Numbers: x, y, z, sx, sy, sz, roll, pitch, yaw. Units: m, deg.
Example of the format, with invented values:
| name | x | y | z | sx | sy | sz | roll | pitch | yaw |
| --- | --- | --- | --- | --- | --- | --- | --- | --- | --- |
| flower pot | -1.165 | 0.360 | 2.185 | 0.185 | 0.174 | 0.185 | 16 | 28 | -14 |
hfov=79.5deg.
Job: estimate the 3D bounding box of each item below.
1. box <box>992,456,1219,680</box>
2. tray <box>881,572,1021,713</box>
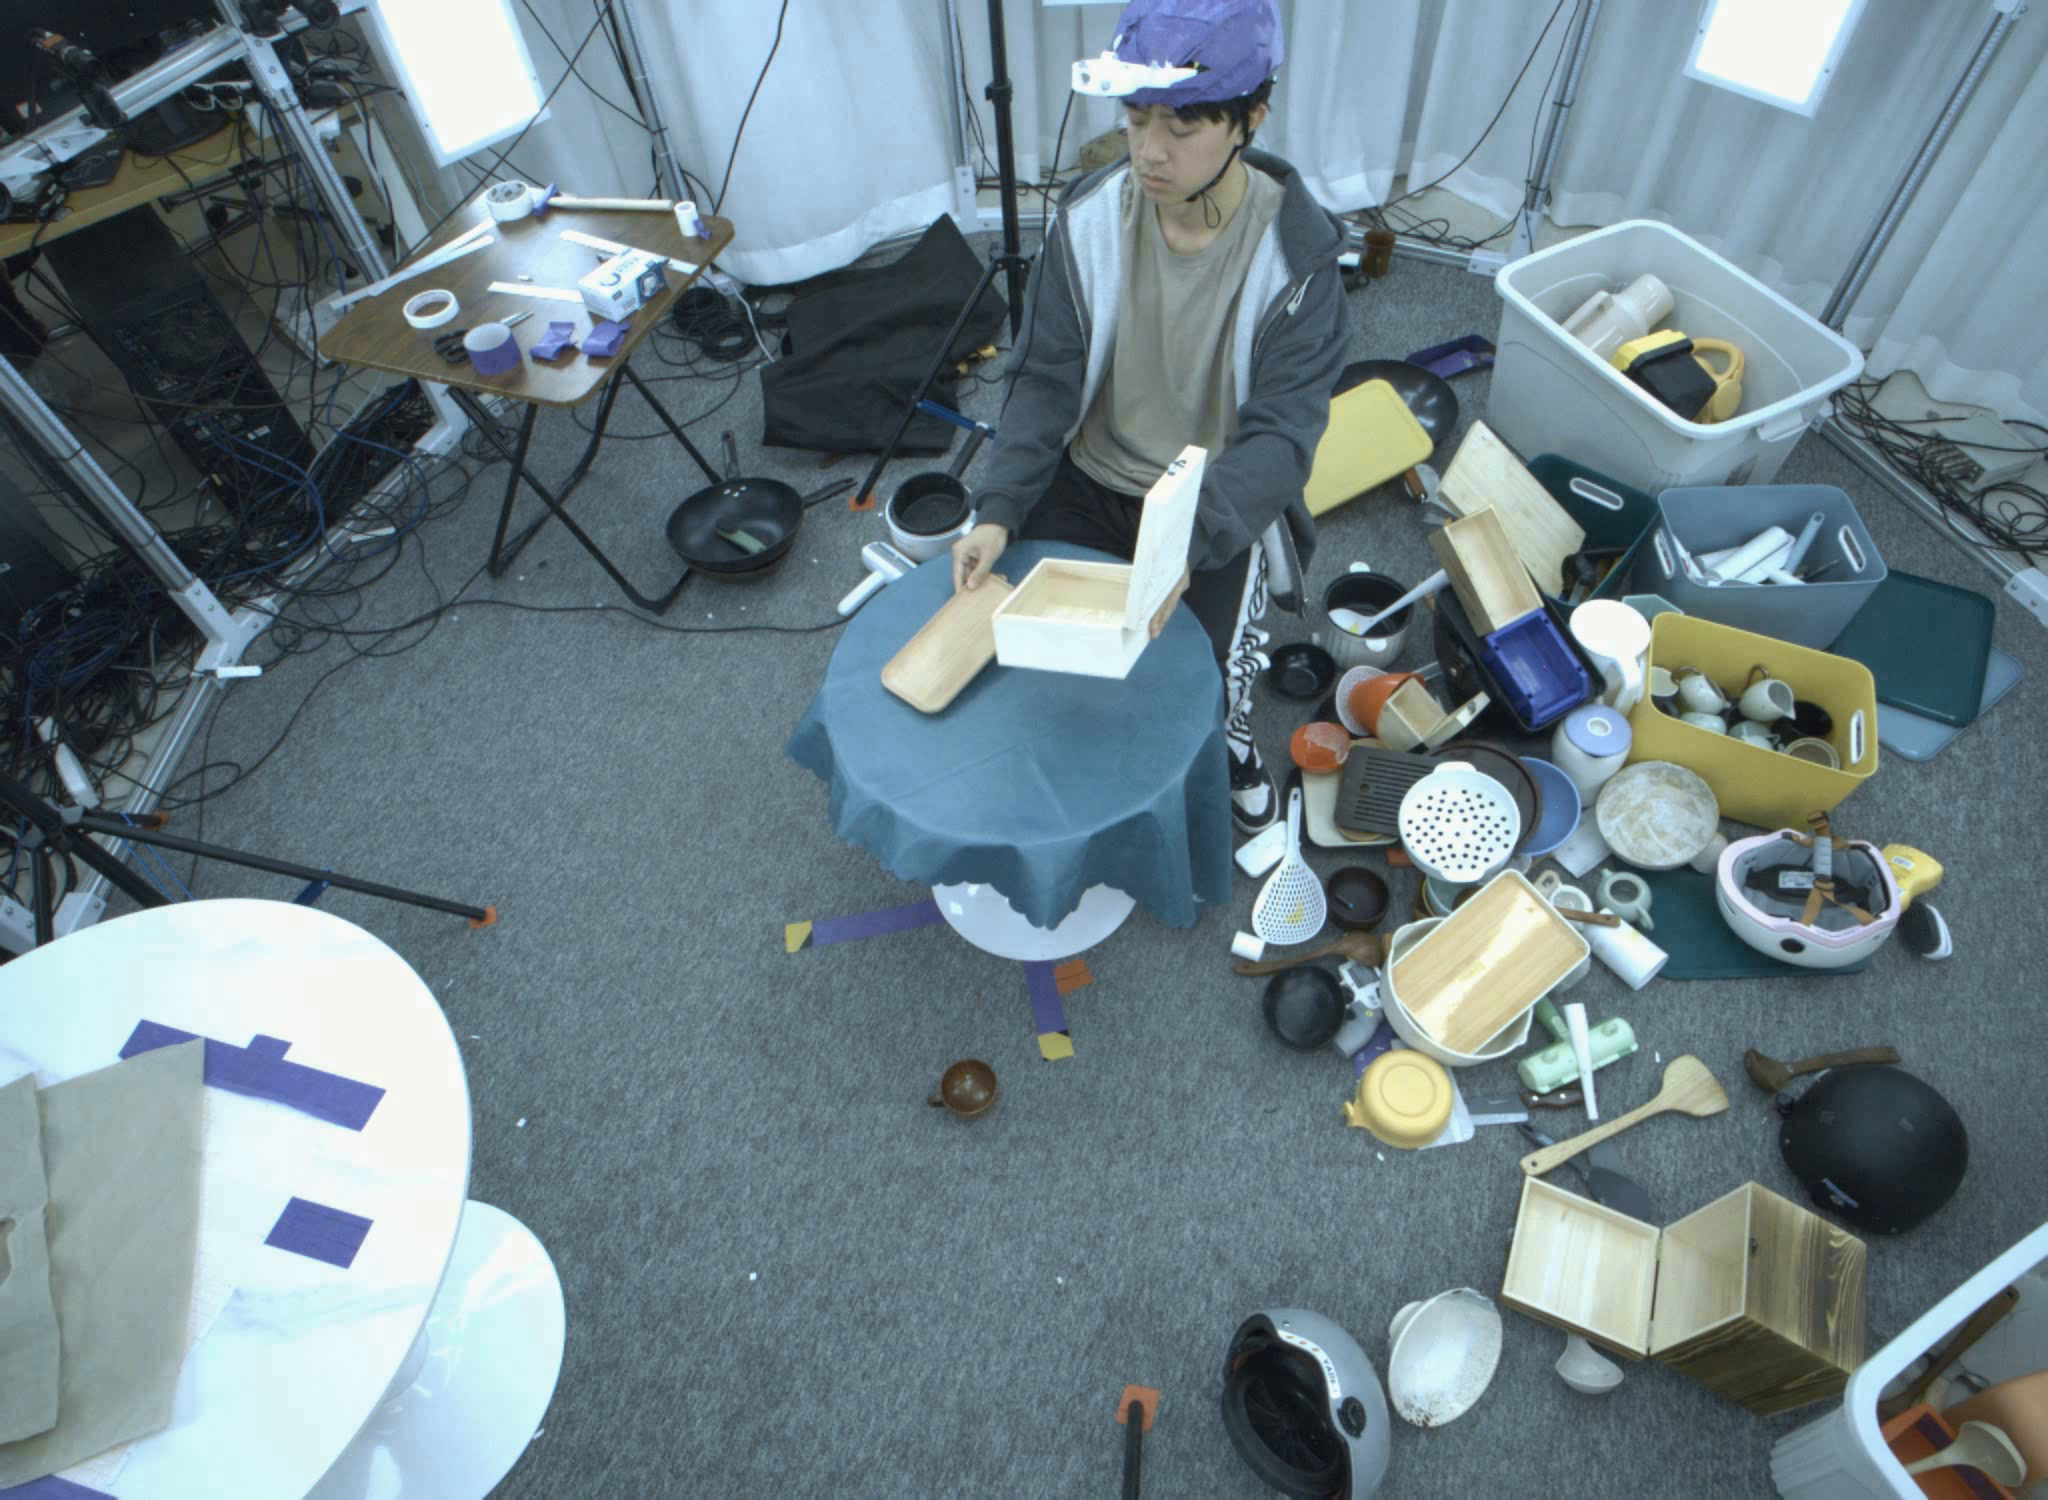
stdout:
| name | x | y | z | sx | sy | sz | roll | pitch | yaw |
| --- | --- | --- | --- | --- | --- | --- | --- | --- | --- |
| box | 0.103 | -0.248 | 1.609 | 0.261 | 0.256 | 0.182 | 9 | 34 | 19 |
| tray | -0.102 | -0.165 | 1.874 | 0.128 | 0.023 | 0.251 | 35 | 72 | 24 |
